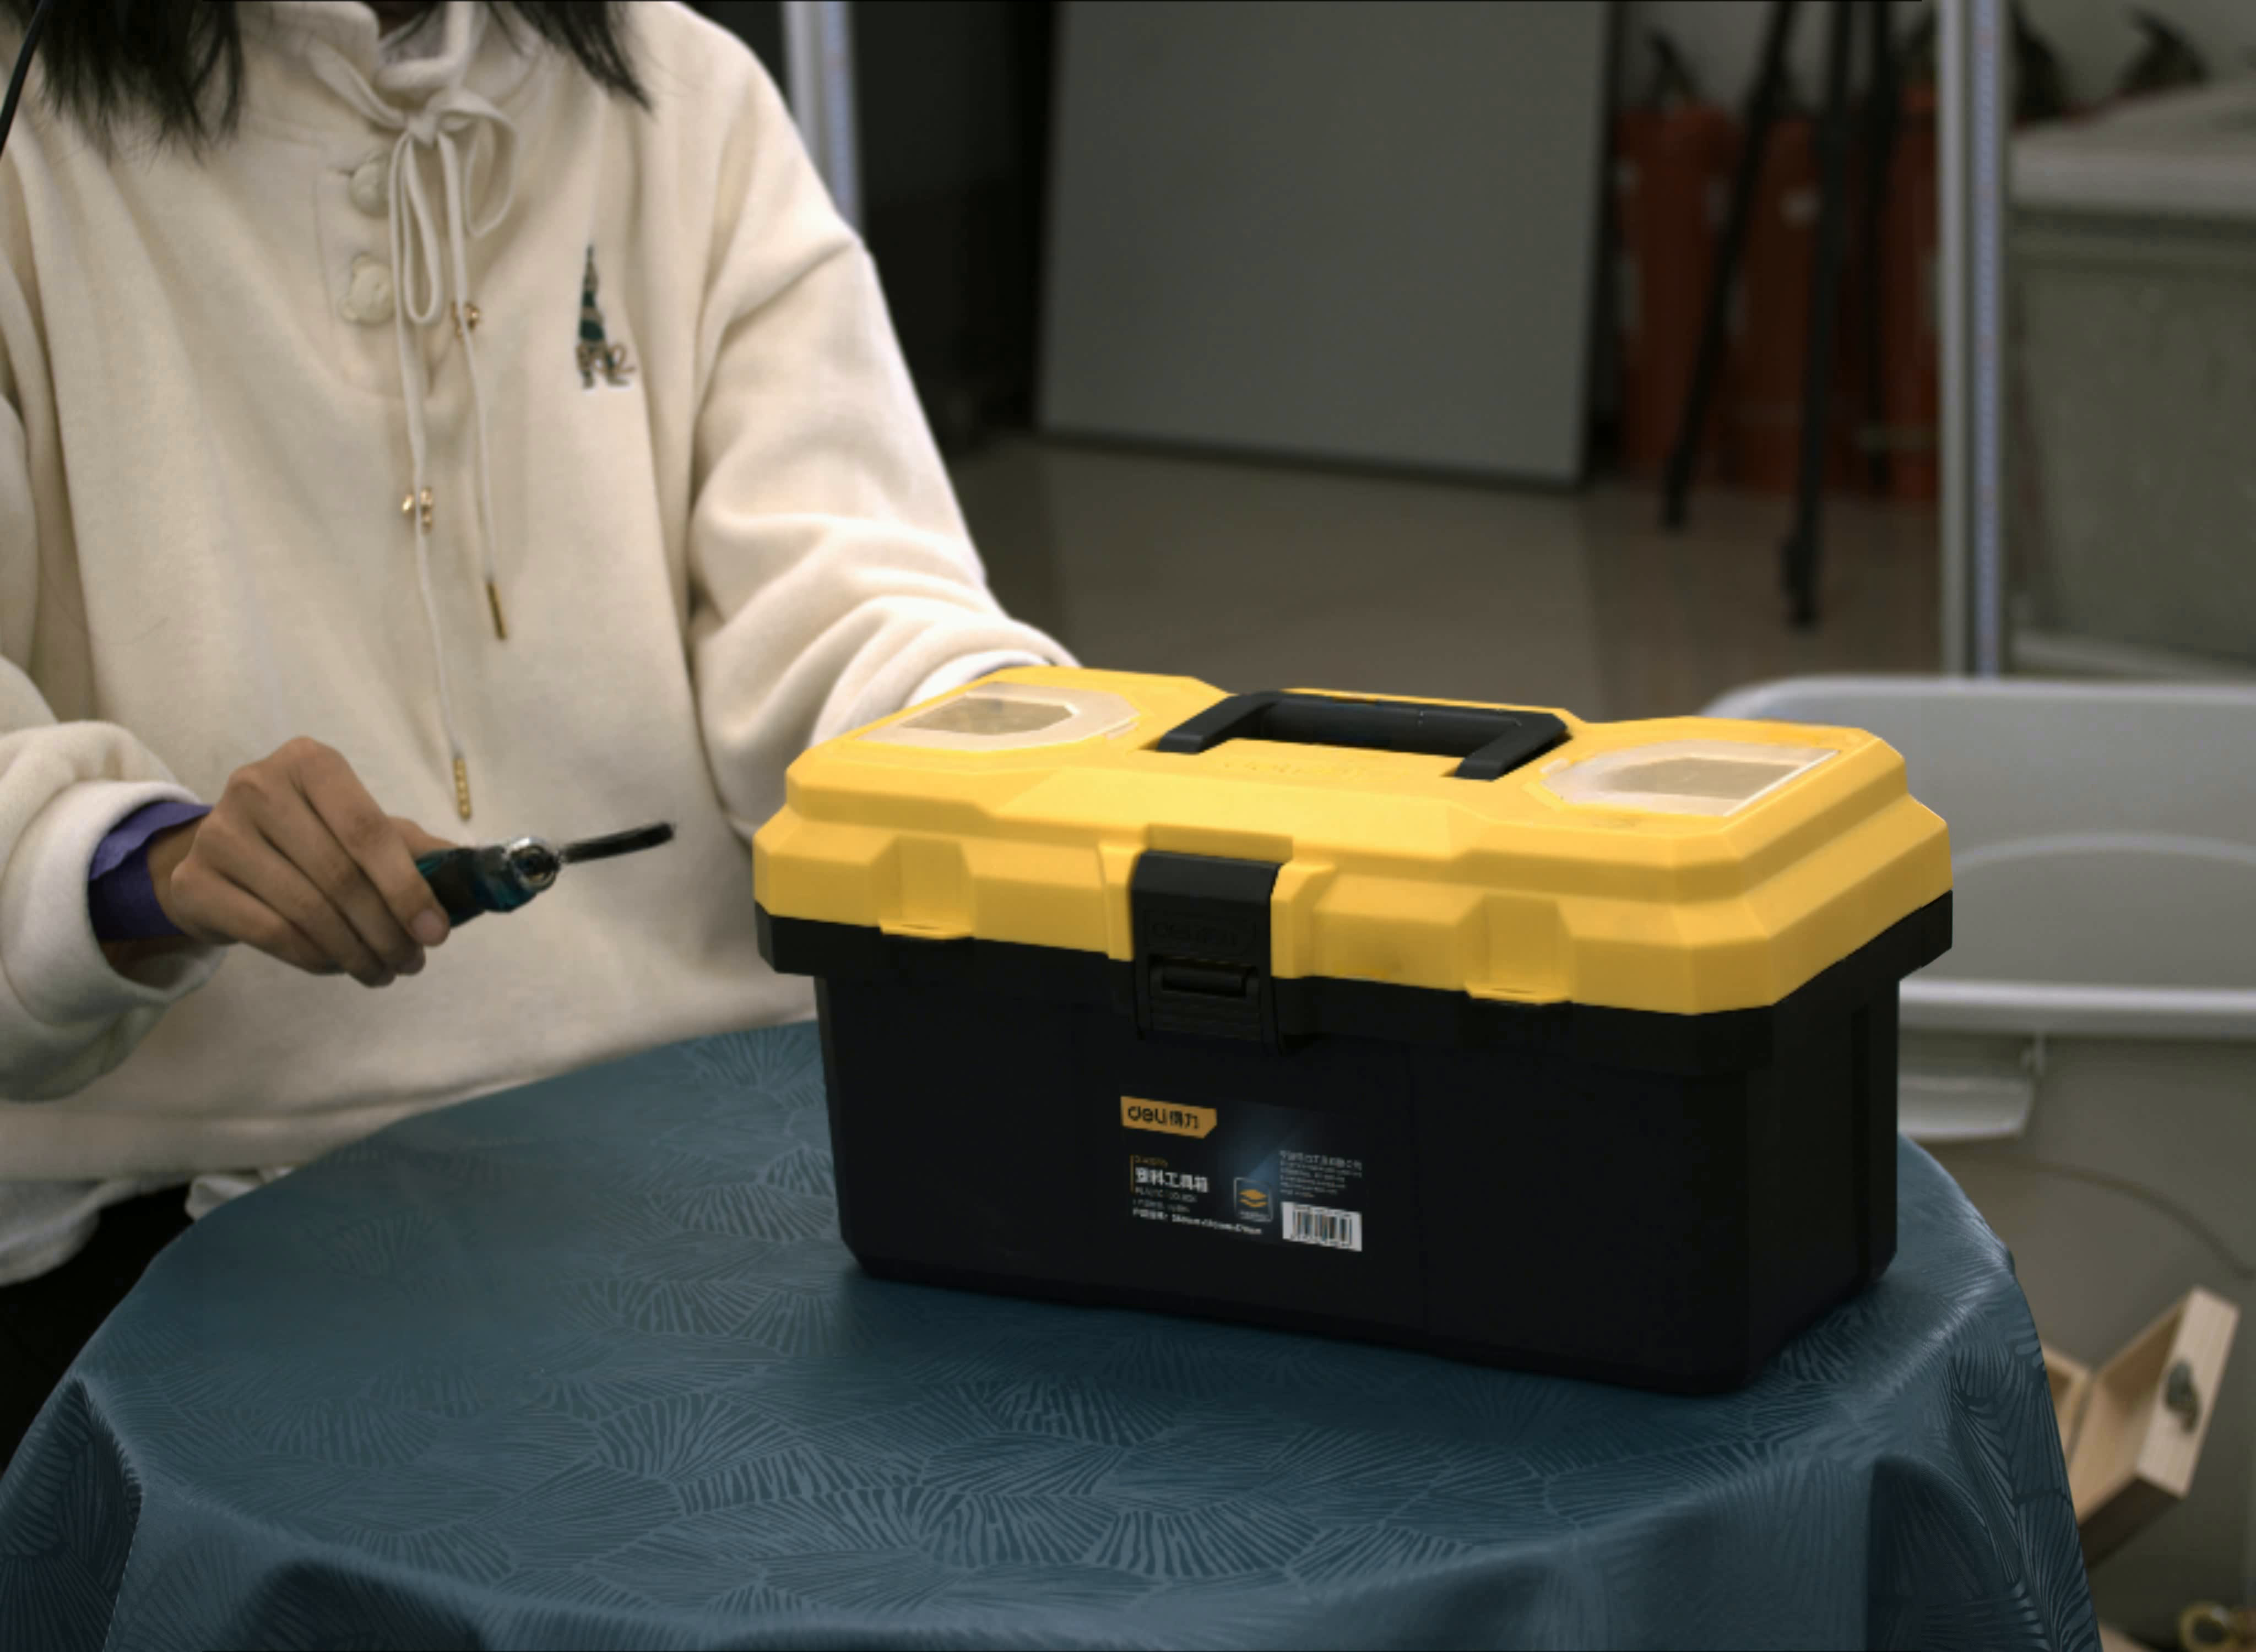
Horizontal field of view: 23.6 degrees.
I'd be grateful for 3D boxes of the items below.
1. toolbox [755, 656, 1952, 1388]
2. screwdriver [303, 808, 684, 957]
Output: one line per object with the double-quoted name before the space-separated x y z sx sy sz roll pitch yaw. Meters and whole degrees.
"toolbox" 0.066 0.055 1.653 0.353 0.175 0.178 5 16 32
"screwdriver" -0.200 0.015 1.722 0.033 0.034 0.192 -17 2 -44
